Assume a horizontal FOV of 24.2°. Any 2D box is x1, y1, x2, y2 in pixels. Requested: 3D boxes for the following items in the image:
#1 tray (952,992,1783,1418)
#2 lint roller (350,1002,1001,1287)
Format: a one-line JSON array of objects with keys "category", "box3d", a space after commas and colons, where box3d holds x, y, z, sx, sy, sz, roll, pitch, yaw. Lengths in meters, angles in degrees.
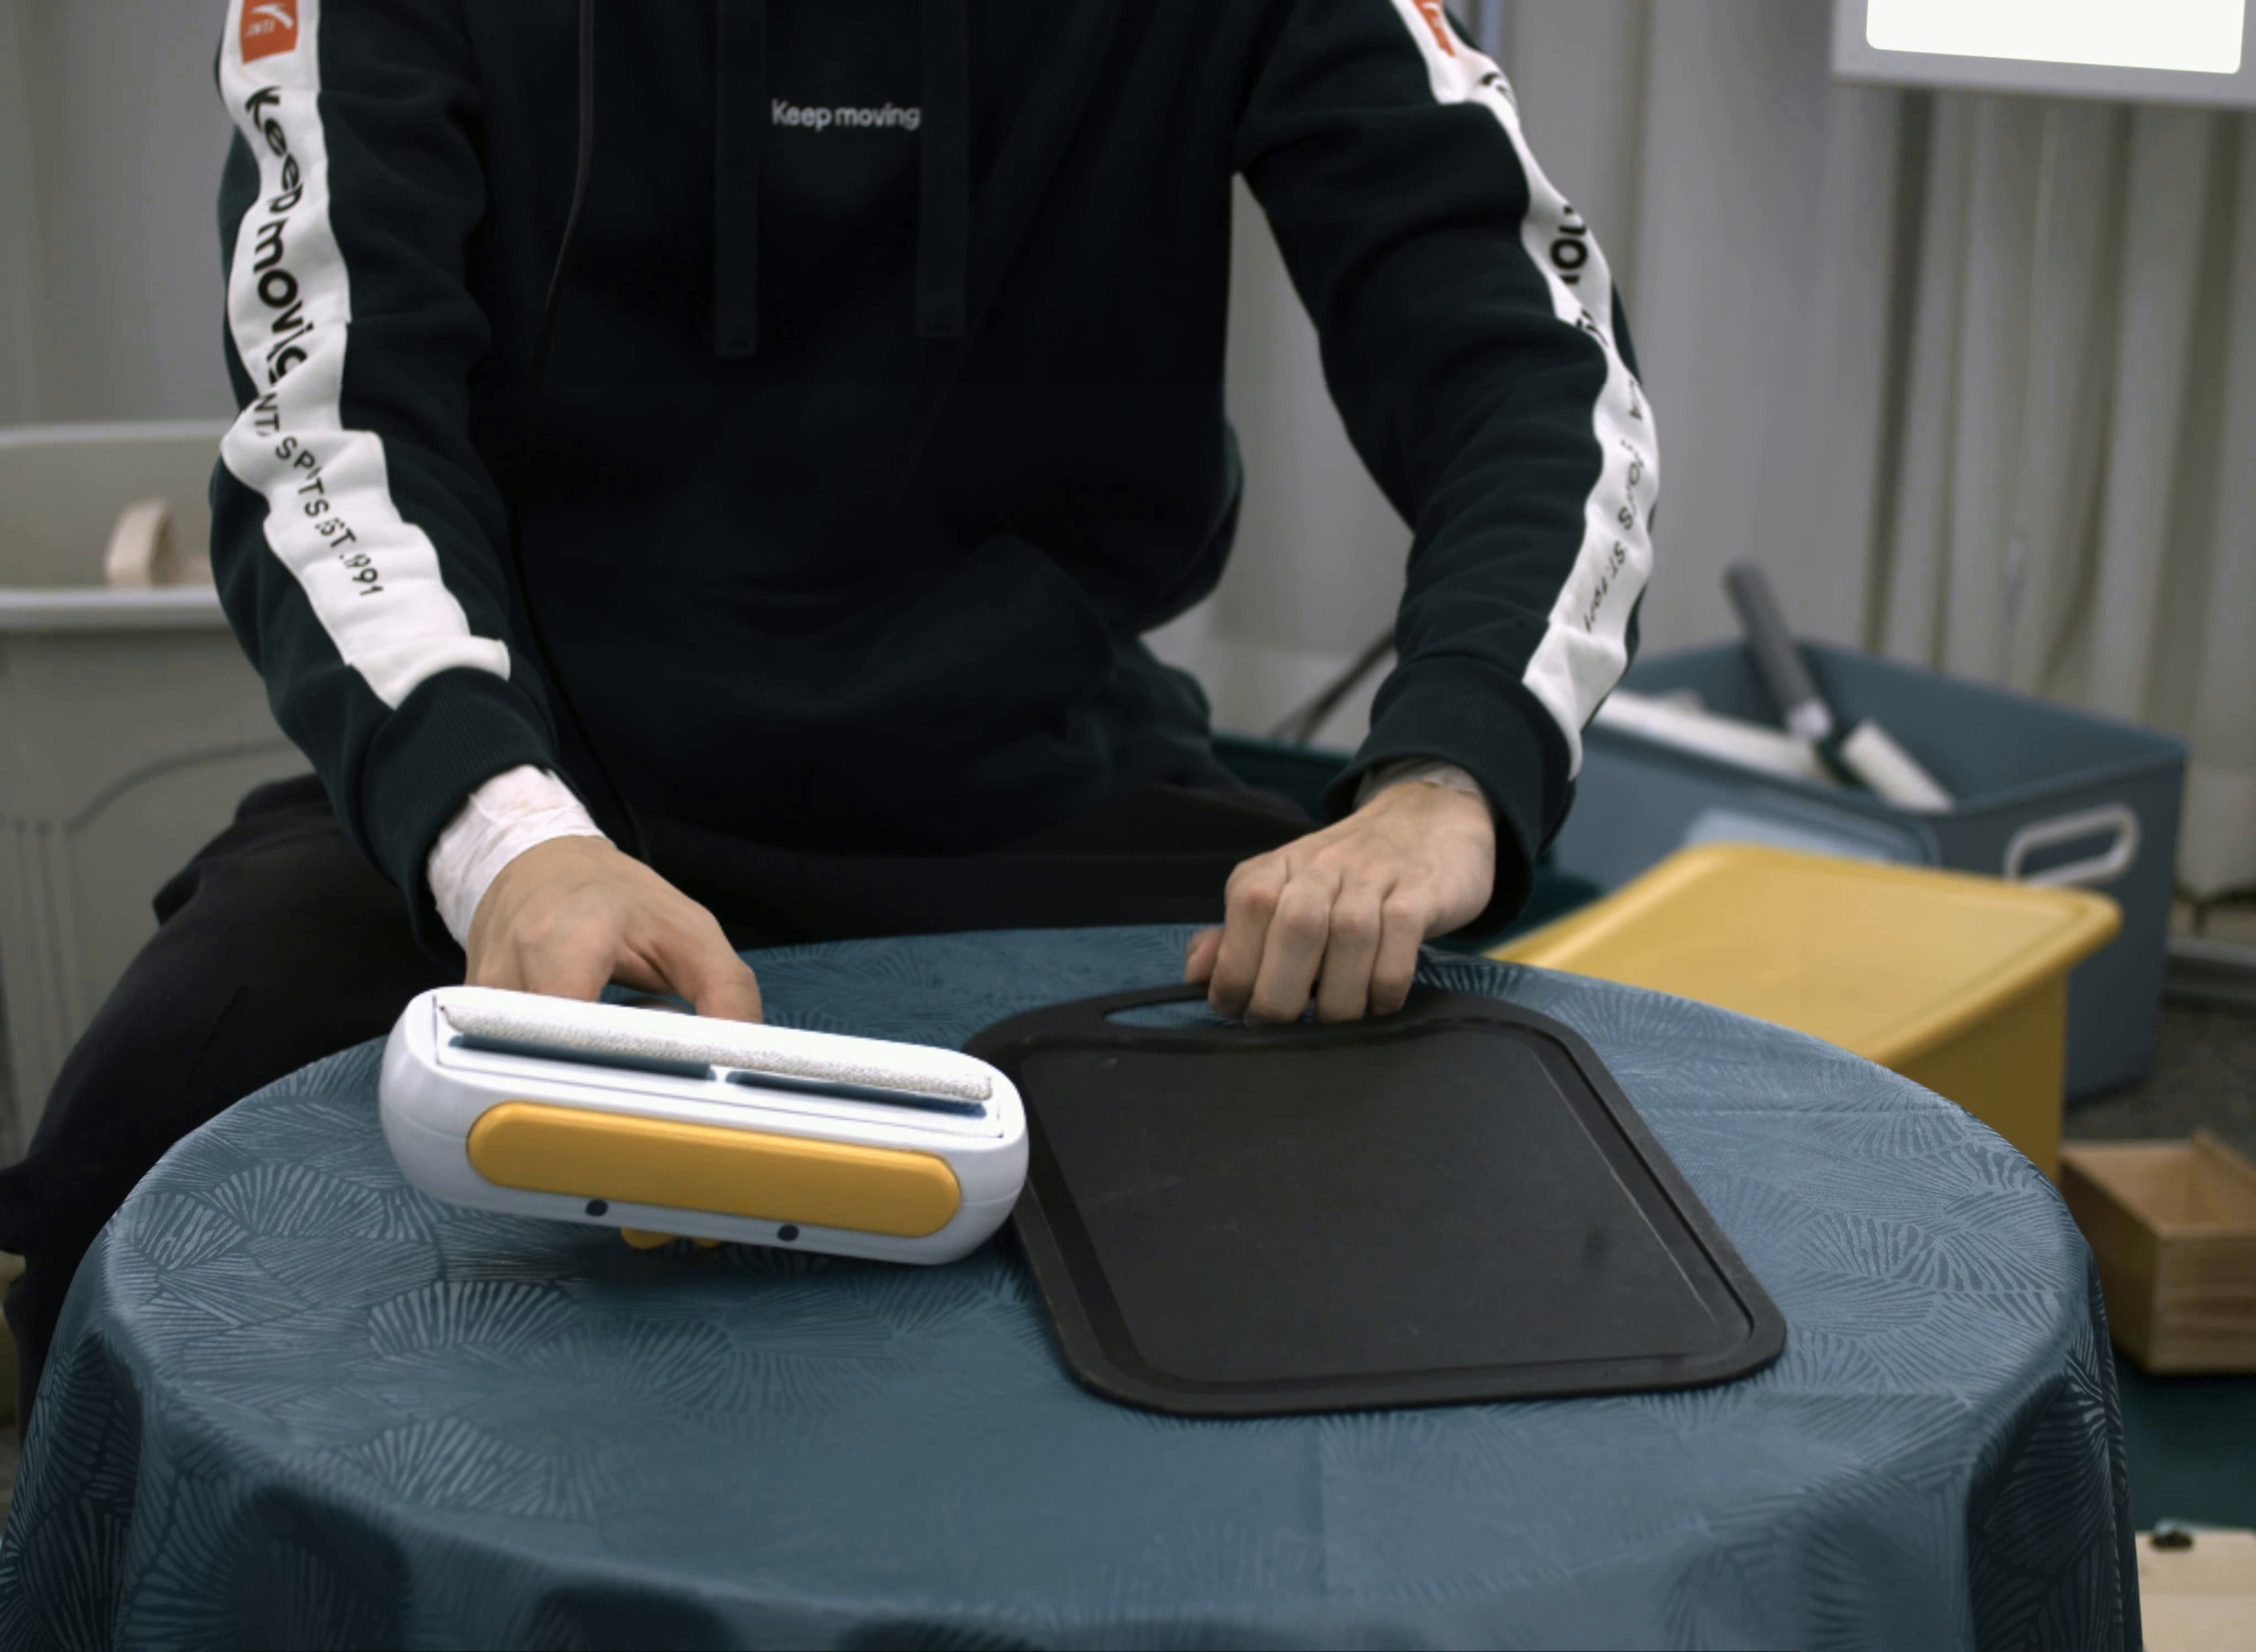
[{"category": "tray", "box3d": [0.063, 0.107, 1.598, 0.211, 0.010, 0.322, -2, 19, -10]}, {"category": "lint roller", "box3d": [-0.140, 0.095, 1.607, 0.193, 0.074, 0.191, 7, 3, -7]}]
